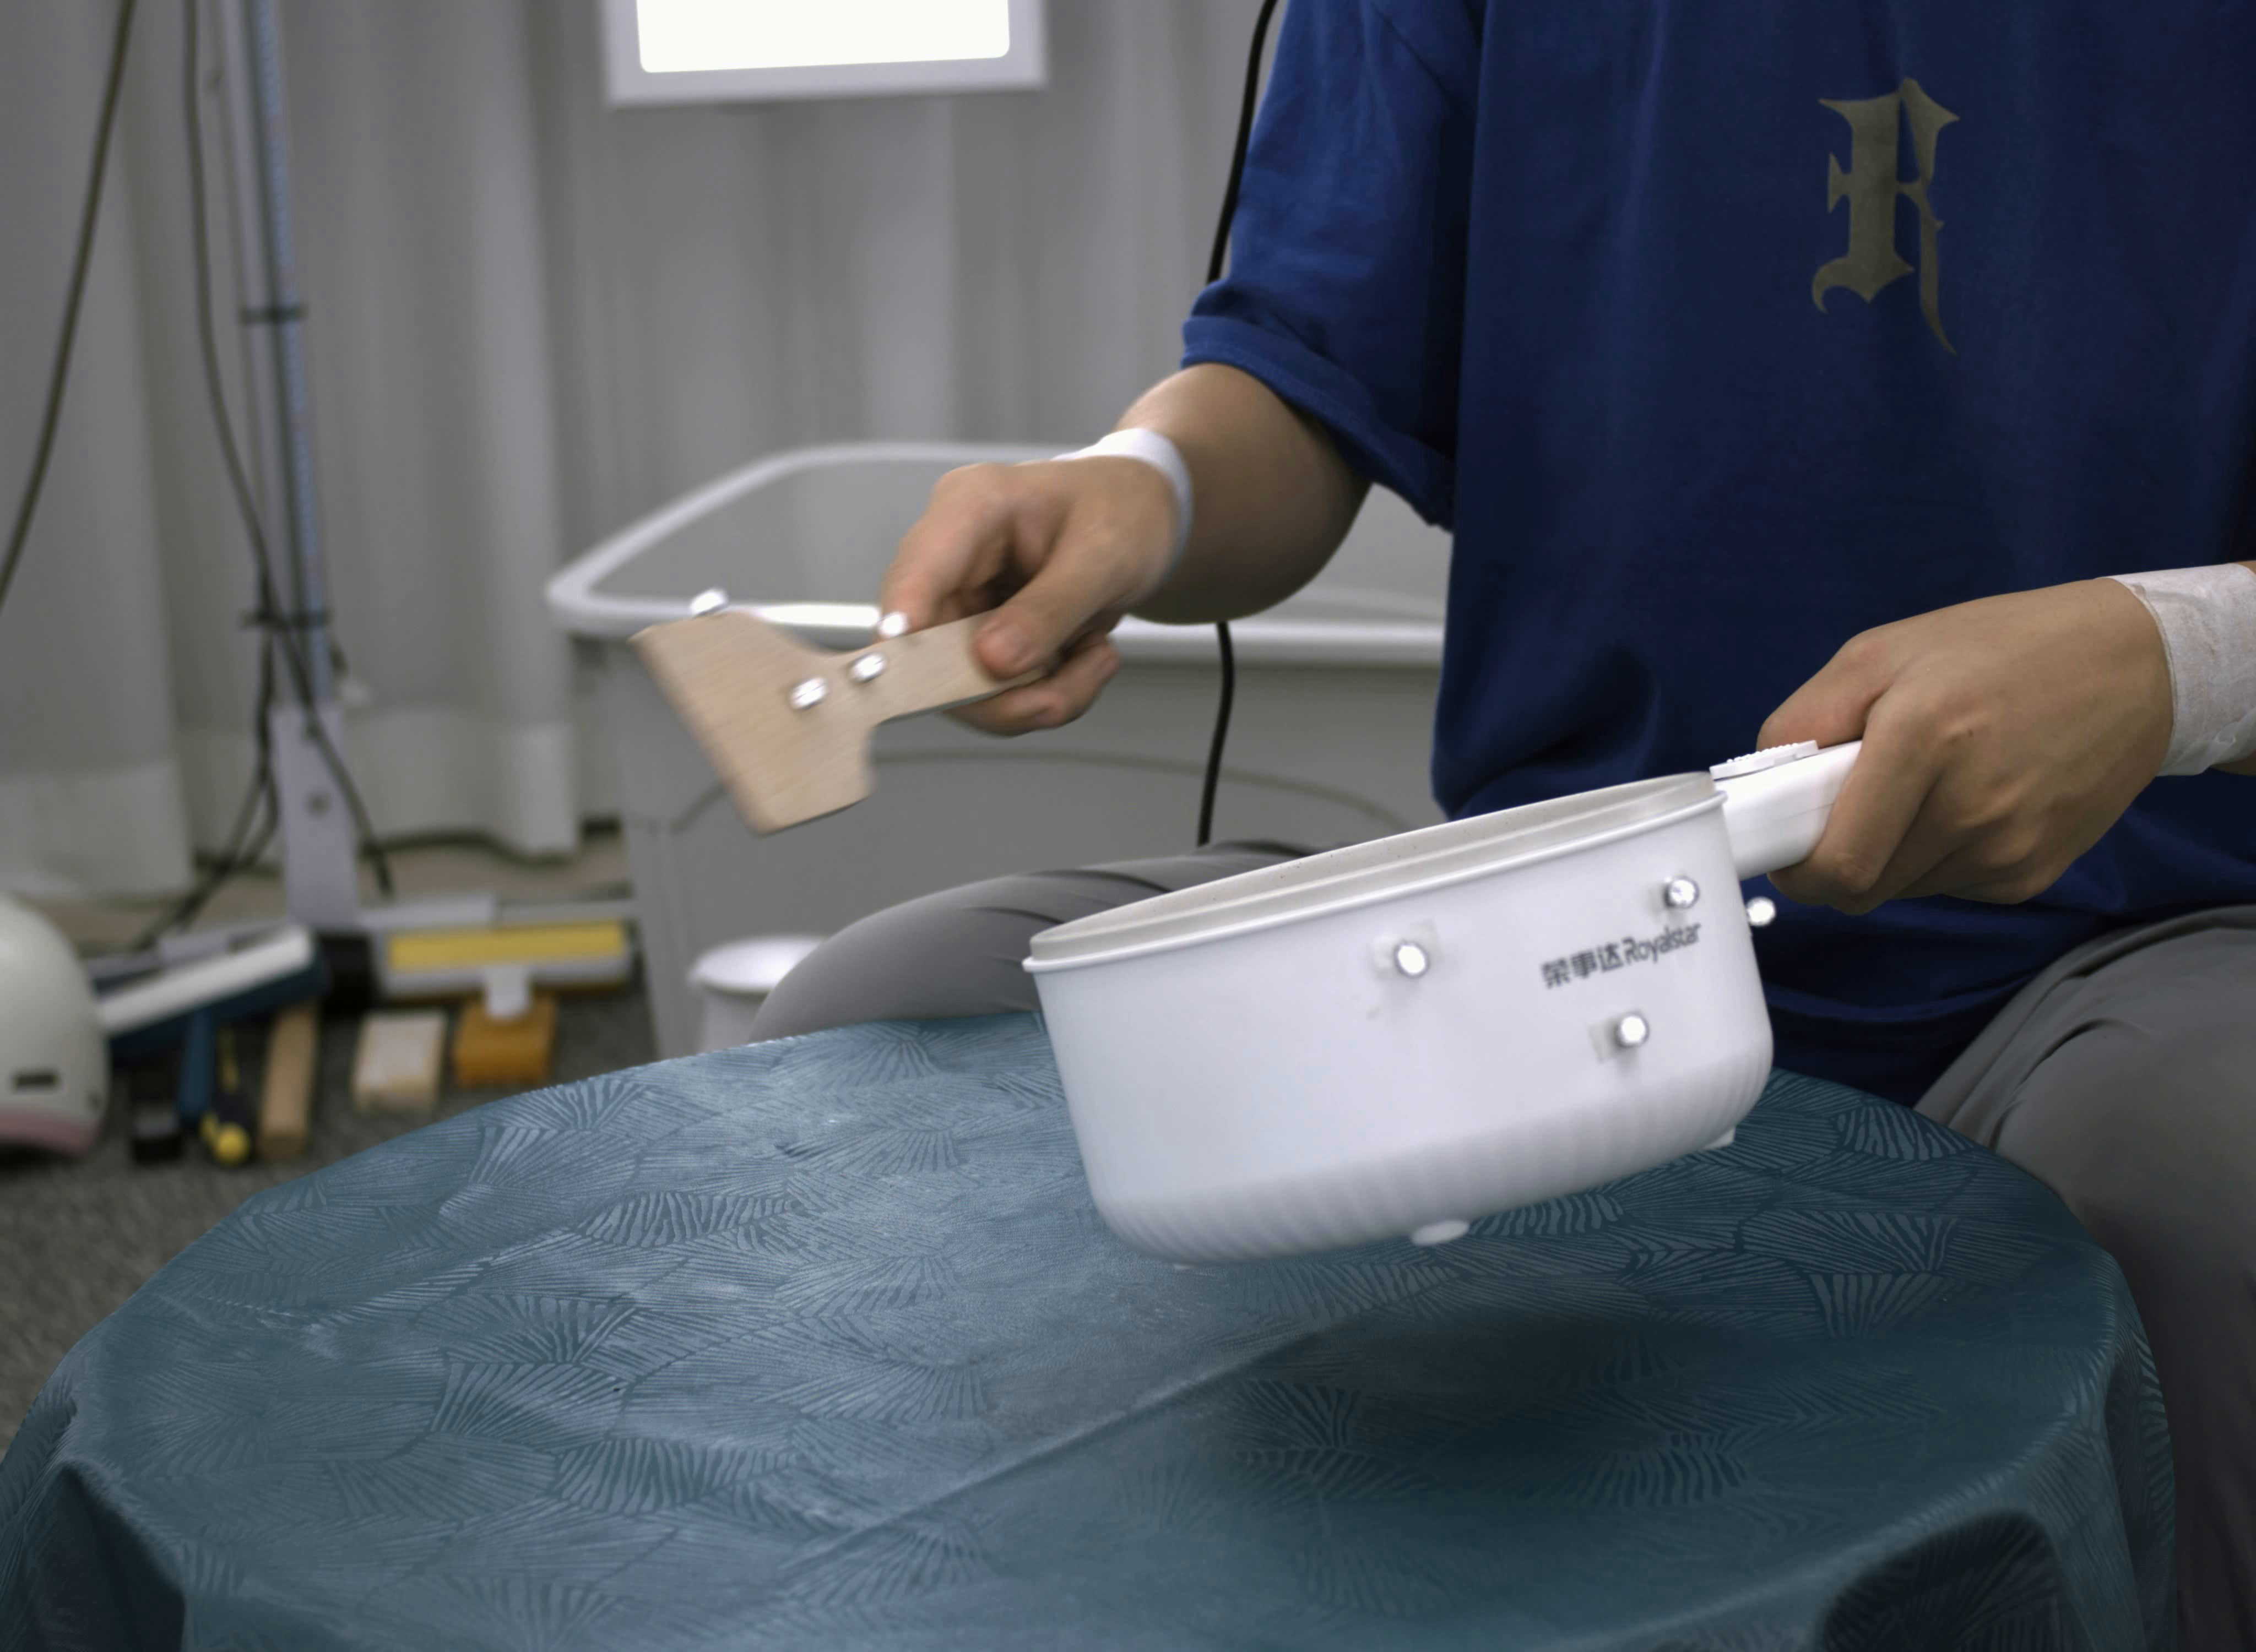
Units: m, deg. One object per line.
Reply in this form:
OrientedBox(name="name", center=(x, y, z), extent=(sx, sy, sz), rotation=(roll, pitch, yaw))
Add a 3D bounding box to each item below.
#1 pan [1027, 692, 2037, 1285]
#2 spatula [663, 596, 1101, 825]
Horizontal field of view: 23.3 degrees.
OrientedBox(name="pan", center=(0.137, 0.043, 1.560), extent=(0.354, 0.102, 0.201), rotation=(-15, -1, -39))
OrientedBox(name="spatula", center=(-0.067, -0.047, 1.683), extent=(0.010, 0.072, 0.293), rotation=(-36, -6, 21))
